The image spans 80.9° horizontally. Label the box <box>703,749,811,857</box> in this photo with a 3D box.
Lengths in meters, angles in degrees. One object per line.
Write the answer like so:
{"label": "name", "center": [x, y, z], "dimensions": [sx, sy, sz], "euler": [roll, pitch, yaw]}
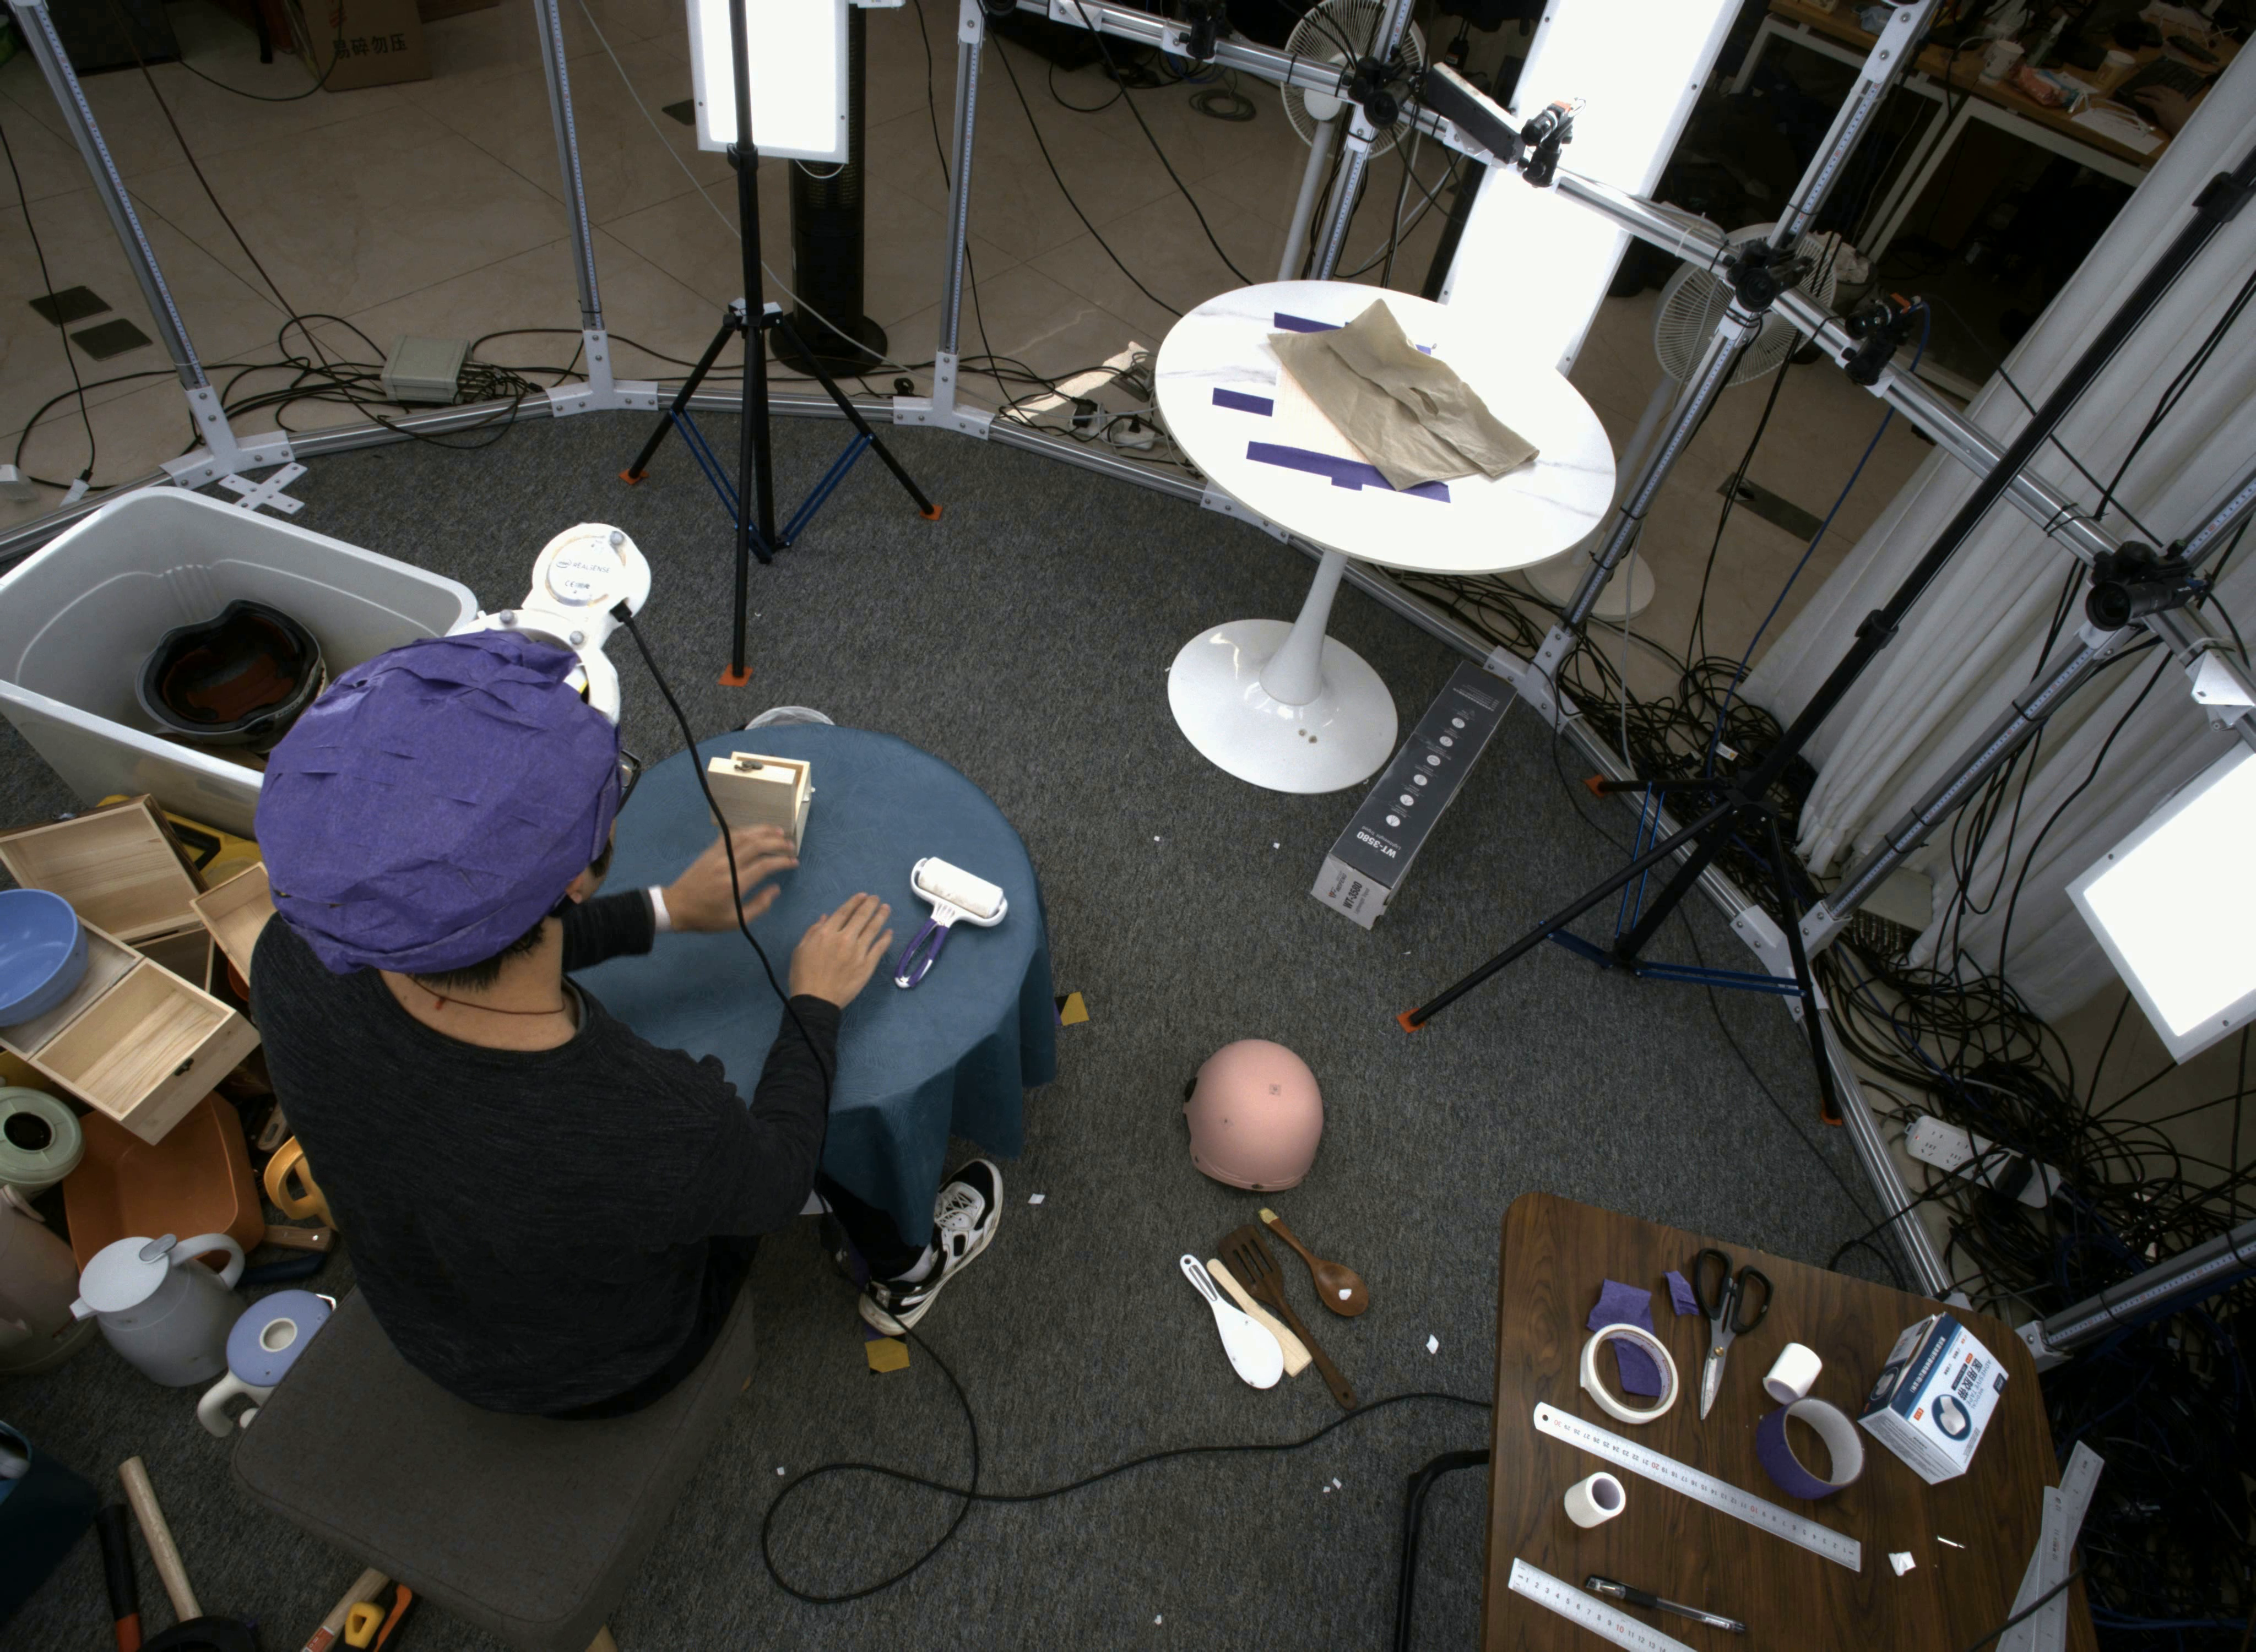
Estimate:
{"label": "box", "center": [-0.464, -0.055, 1.631], "dimensions": [0.102, 0.188, 0.131], "euler": [7, 52, -7]}

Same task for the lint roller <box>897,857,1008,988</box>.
{"label": "lint roller", "center": [-0.243, 0.122, 1.645], "dimensions": [0.131, 0.051, 0.180], "euler": [27, 50, 5]}
